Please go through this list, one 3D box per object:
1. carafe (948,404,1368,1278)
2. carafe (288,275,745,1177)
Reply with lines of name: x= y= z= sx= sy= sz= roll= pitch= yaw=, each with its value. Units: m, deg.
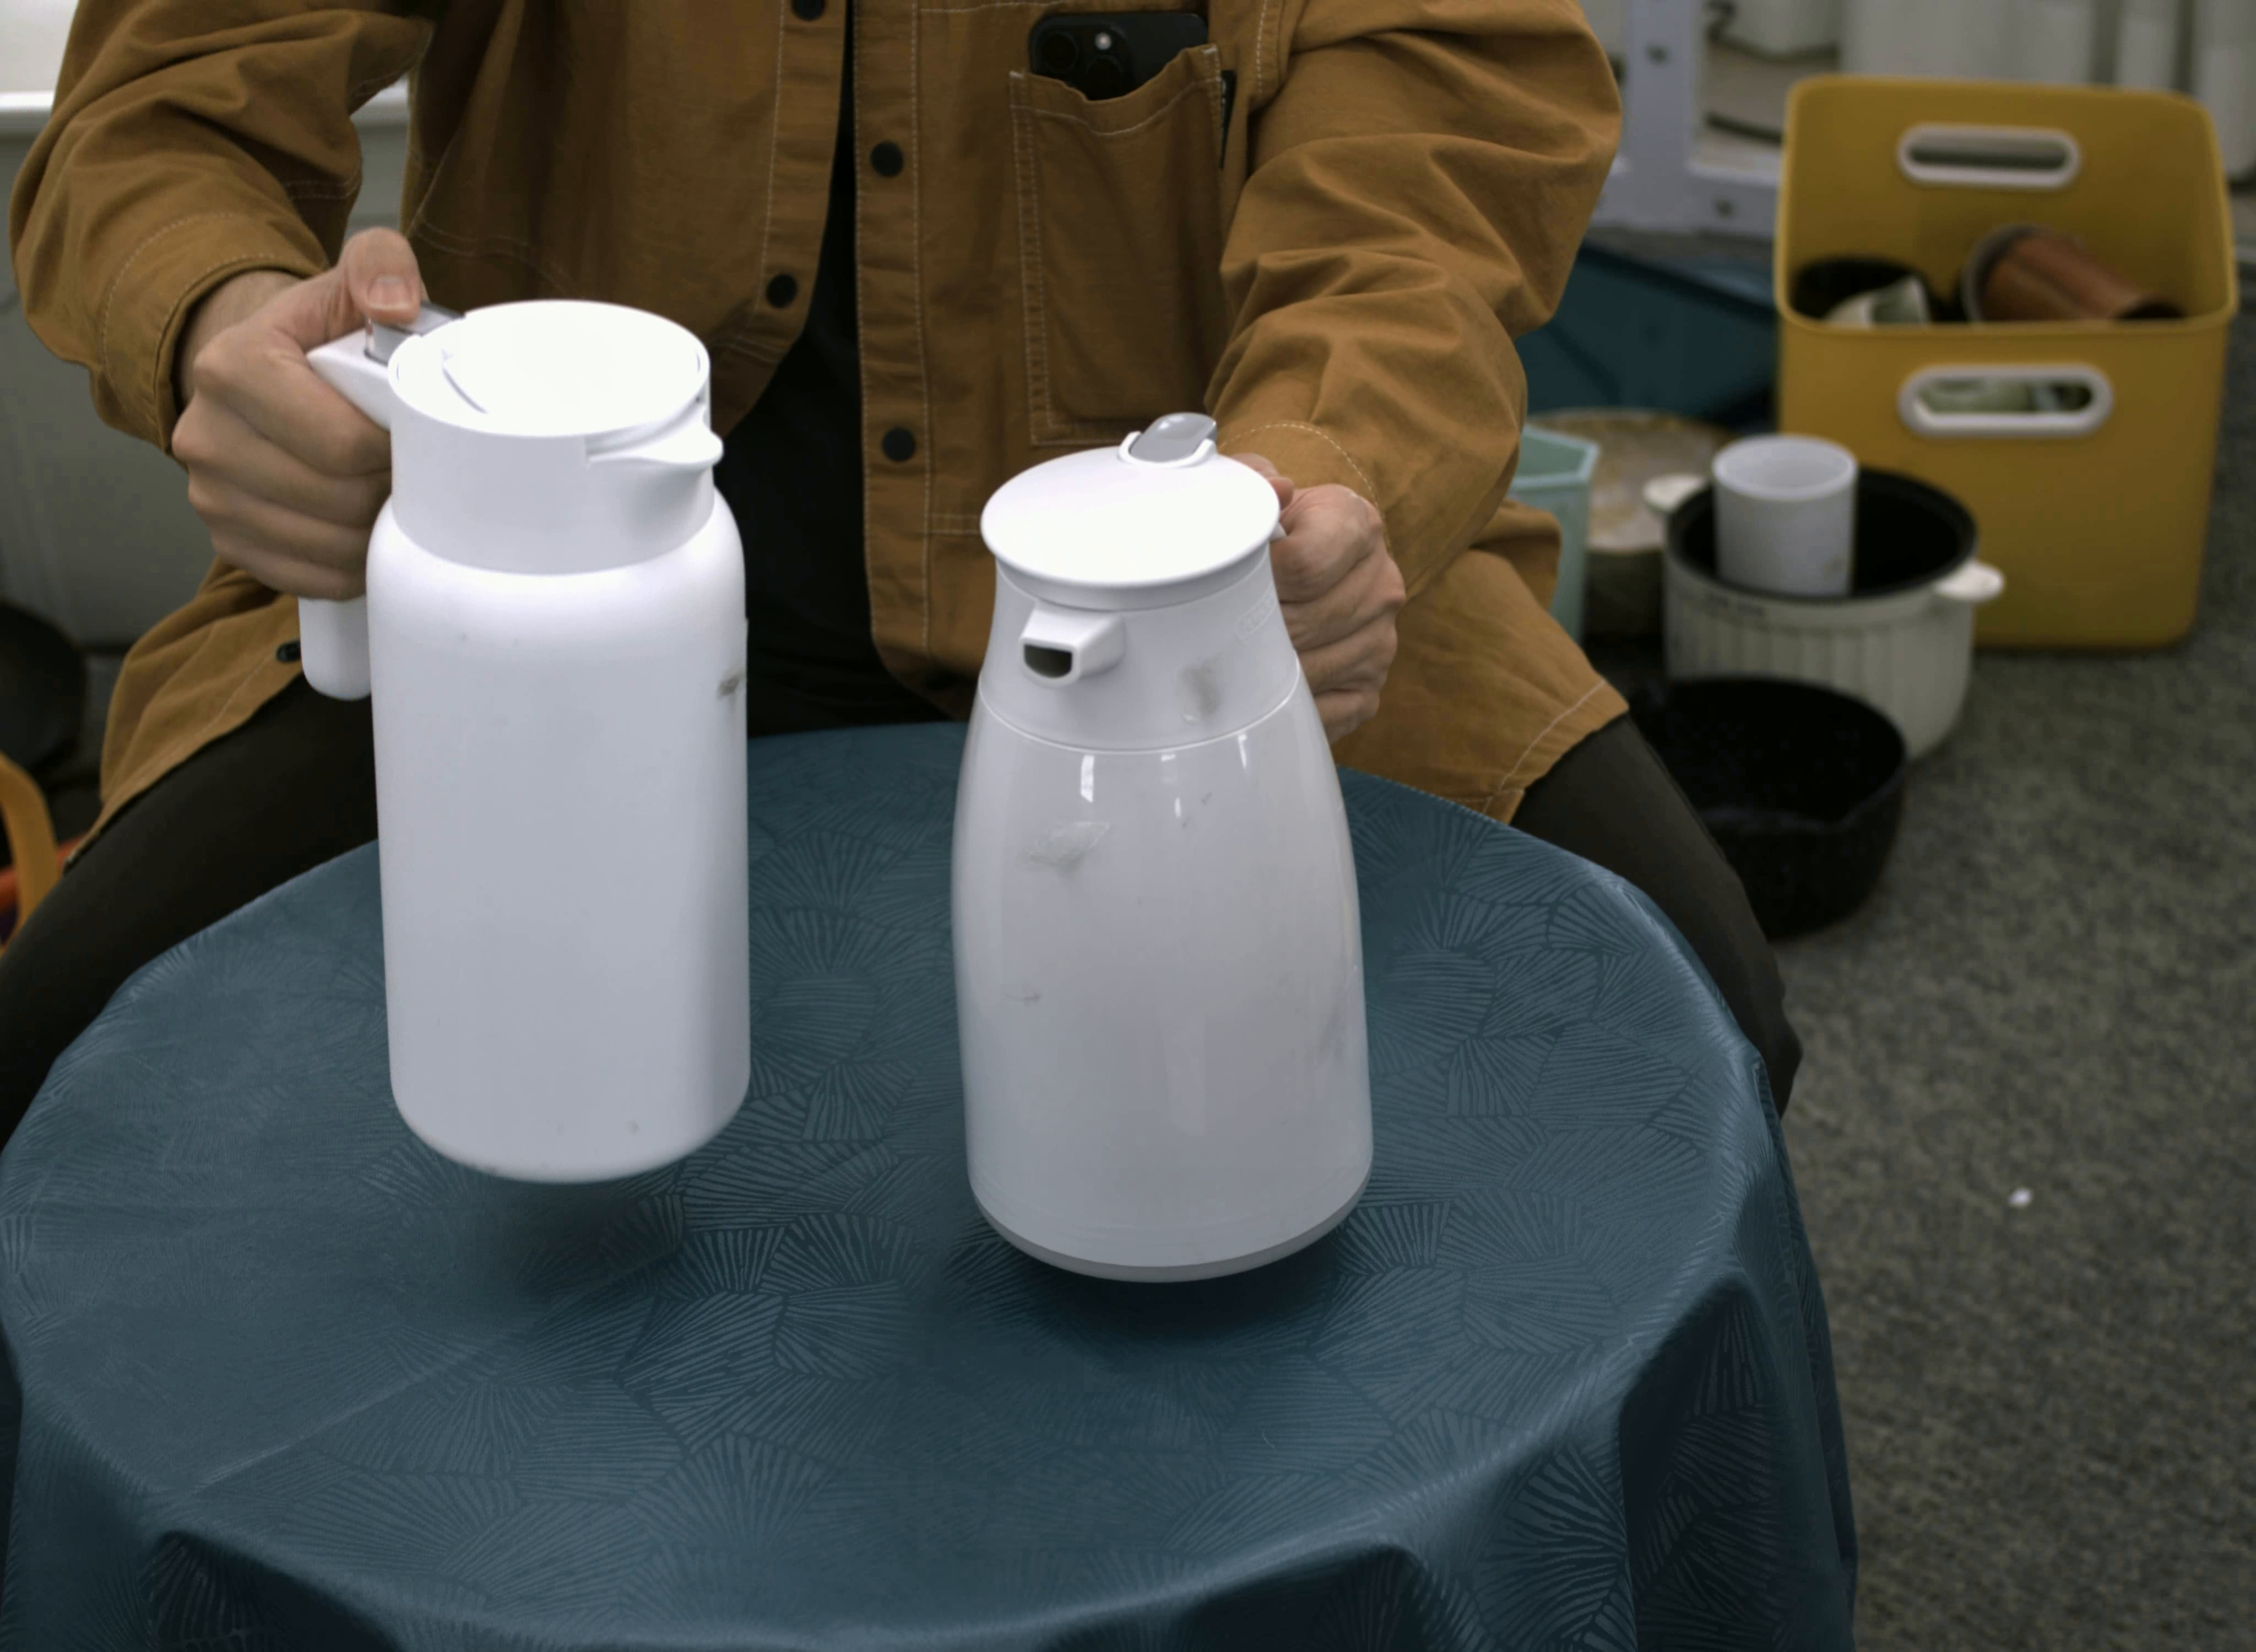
carafe: x=0.013 y=-0.006 z=1.779 sx=0.131 sy=0.246 sz=0.170 roll=9 pitch=30 yaw=21
carafe: x=-0.194 y=-0.034 z=1.779 sx=0.172 sy=0.265 sz=0.125 roll=21 pitch=35 yaw=32
